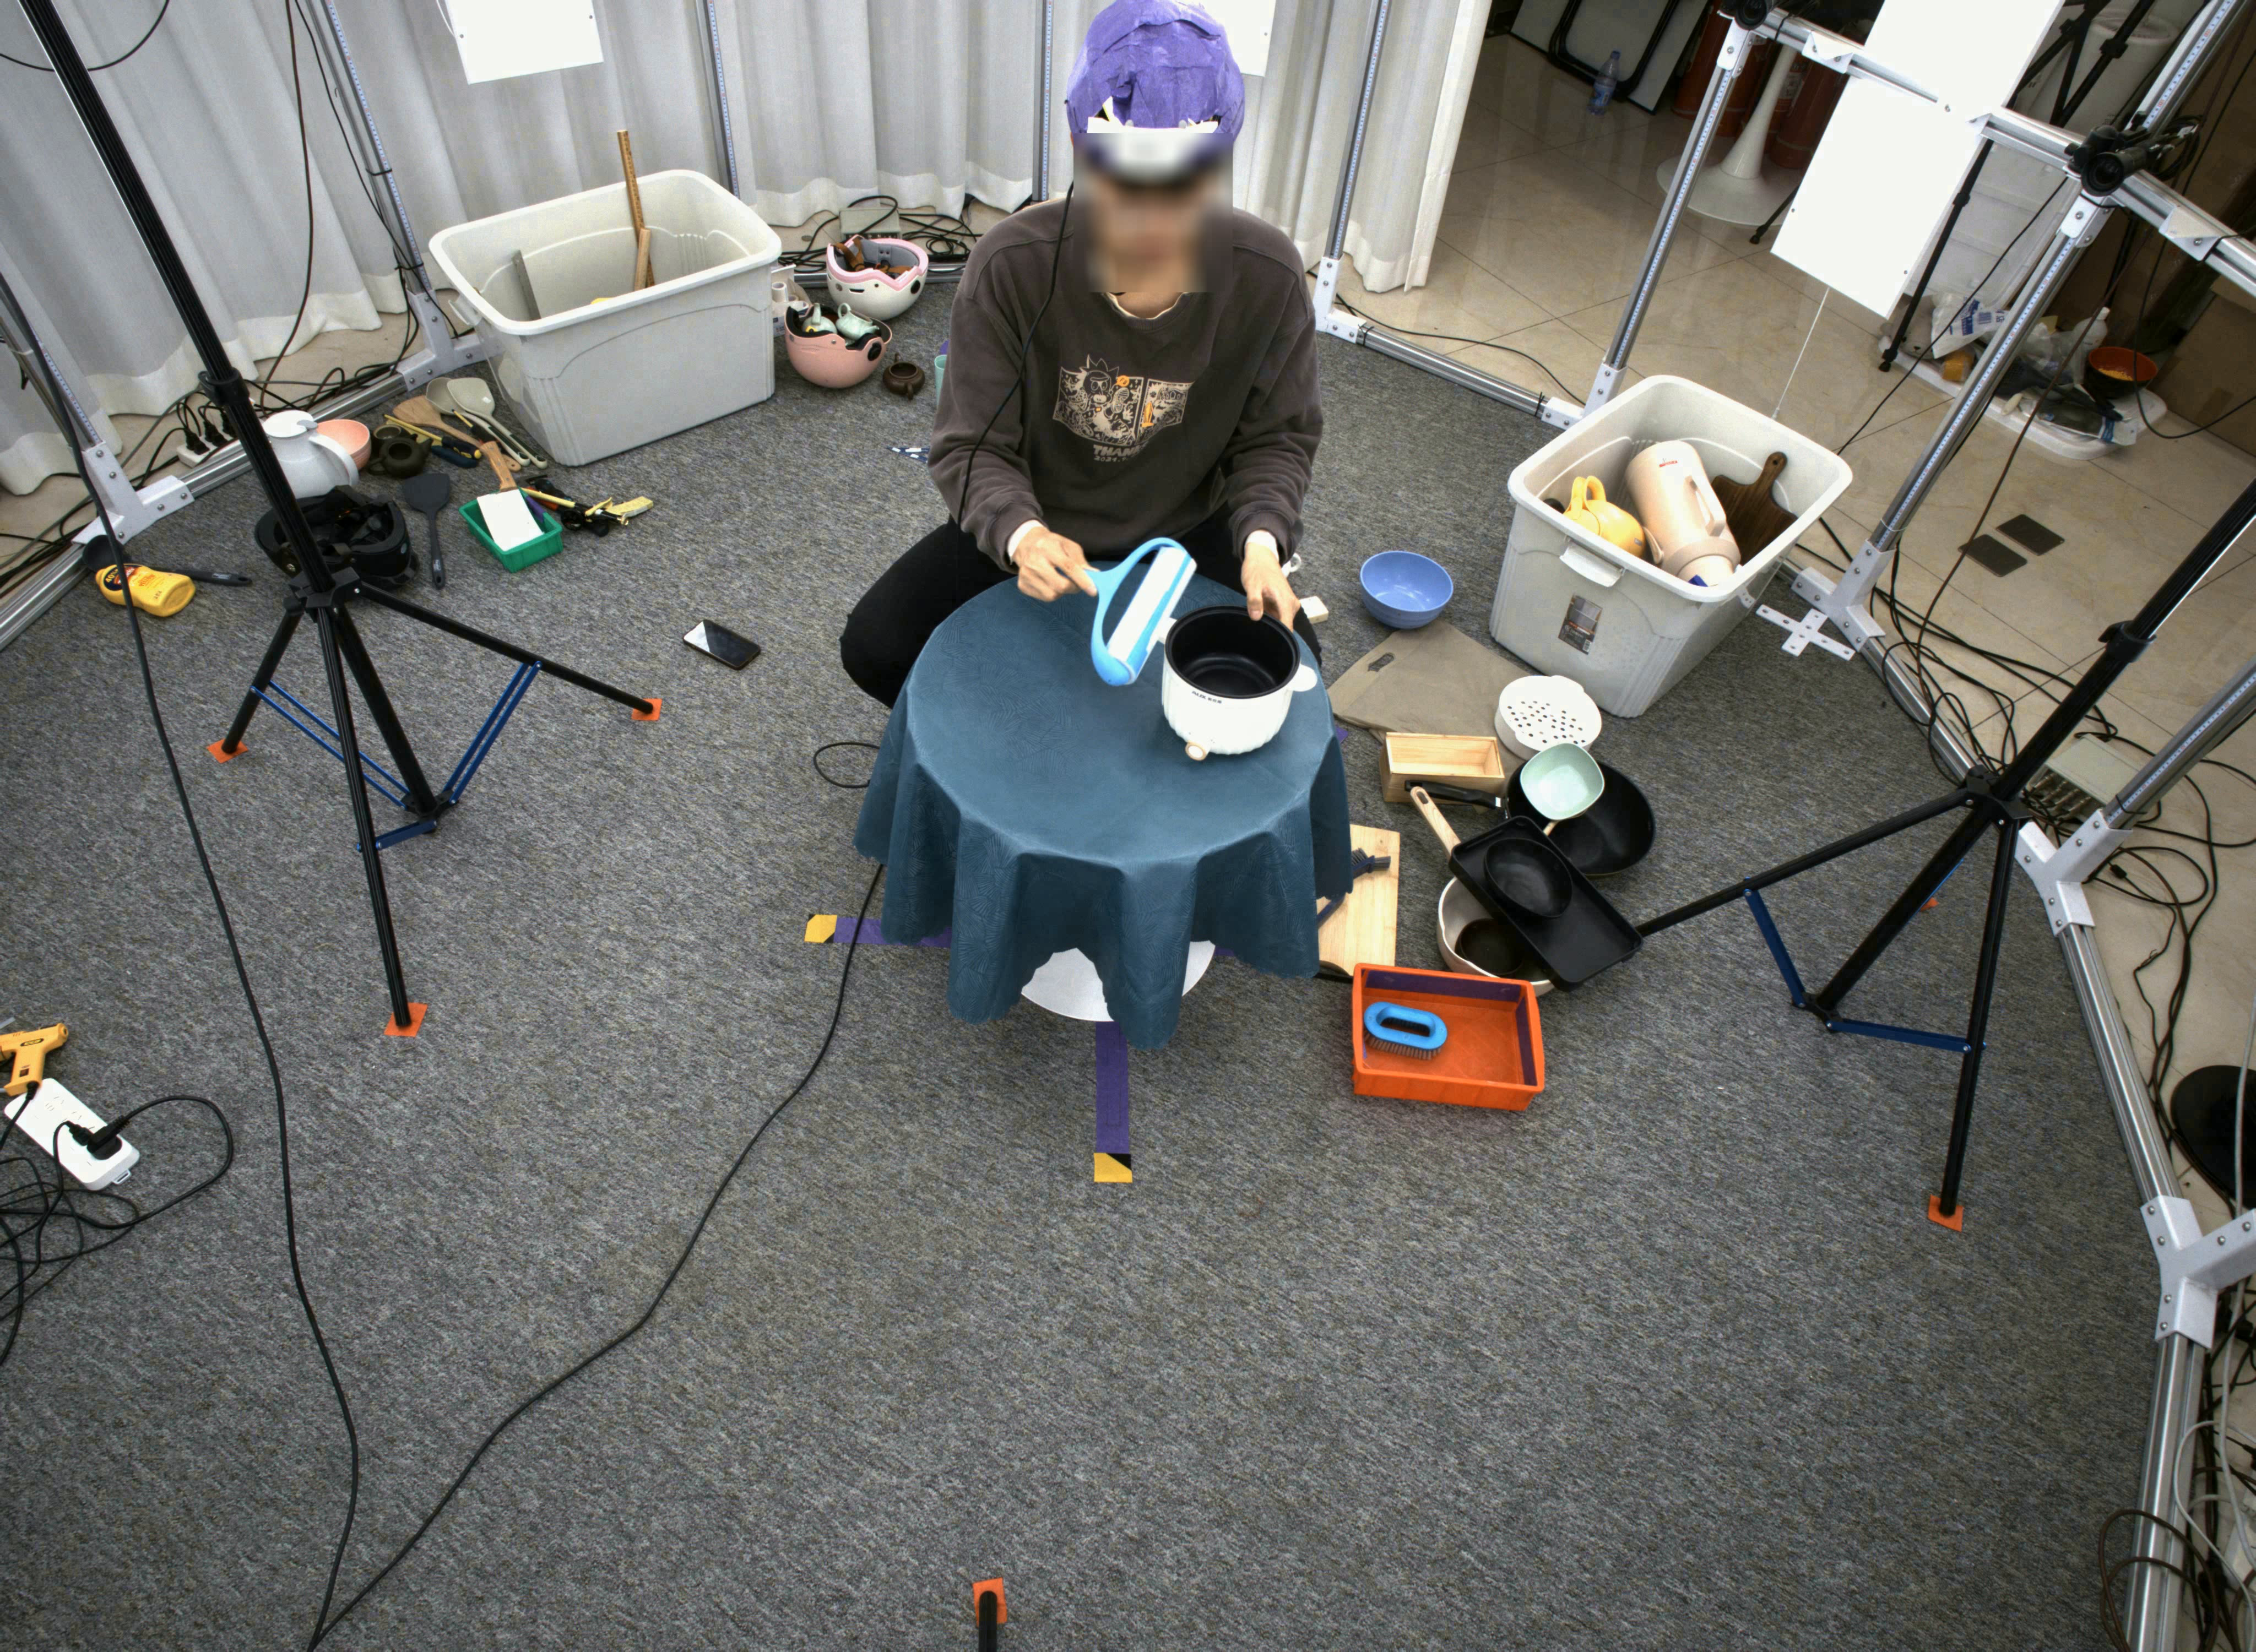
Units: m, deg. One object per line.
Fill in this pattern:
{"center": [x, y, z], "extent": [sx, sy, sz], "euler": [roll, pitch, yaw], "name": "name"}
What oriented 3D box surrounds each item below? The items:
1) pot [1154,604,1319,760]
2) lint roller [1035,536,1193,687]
{"center": [0.135, -0.190, 1.749], "extent": [0.242, 0.139, 0.194], "euler": [20, 48, 15], "name": "pot"}
{"center": [-0.033, -0.290, 1.621], "extent": [0.180, 0.066, 0.233], "euler": [22, 63, 5], "name": "lint roller"}
